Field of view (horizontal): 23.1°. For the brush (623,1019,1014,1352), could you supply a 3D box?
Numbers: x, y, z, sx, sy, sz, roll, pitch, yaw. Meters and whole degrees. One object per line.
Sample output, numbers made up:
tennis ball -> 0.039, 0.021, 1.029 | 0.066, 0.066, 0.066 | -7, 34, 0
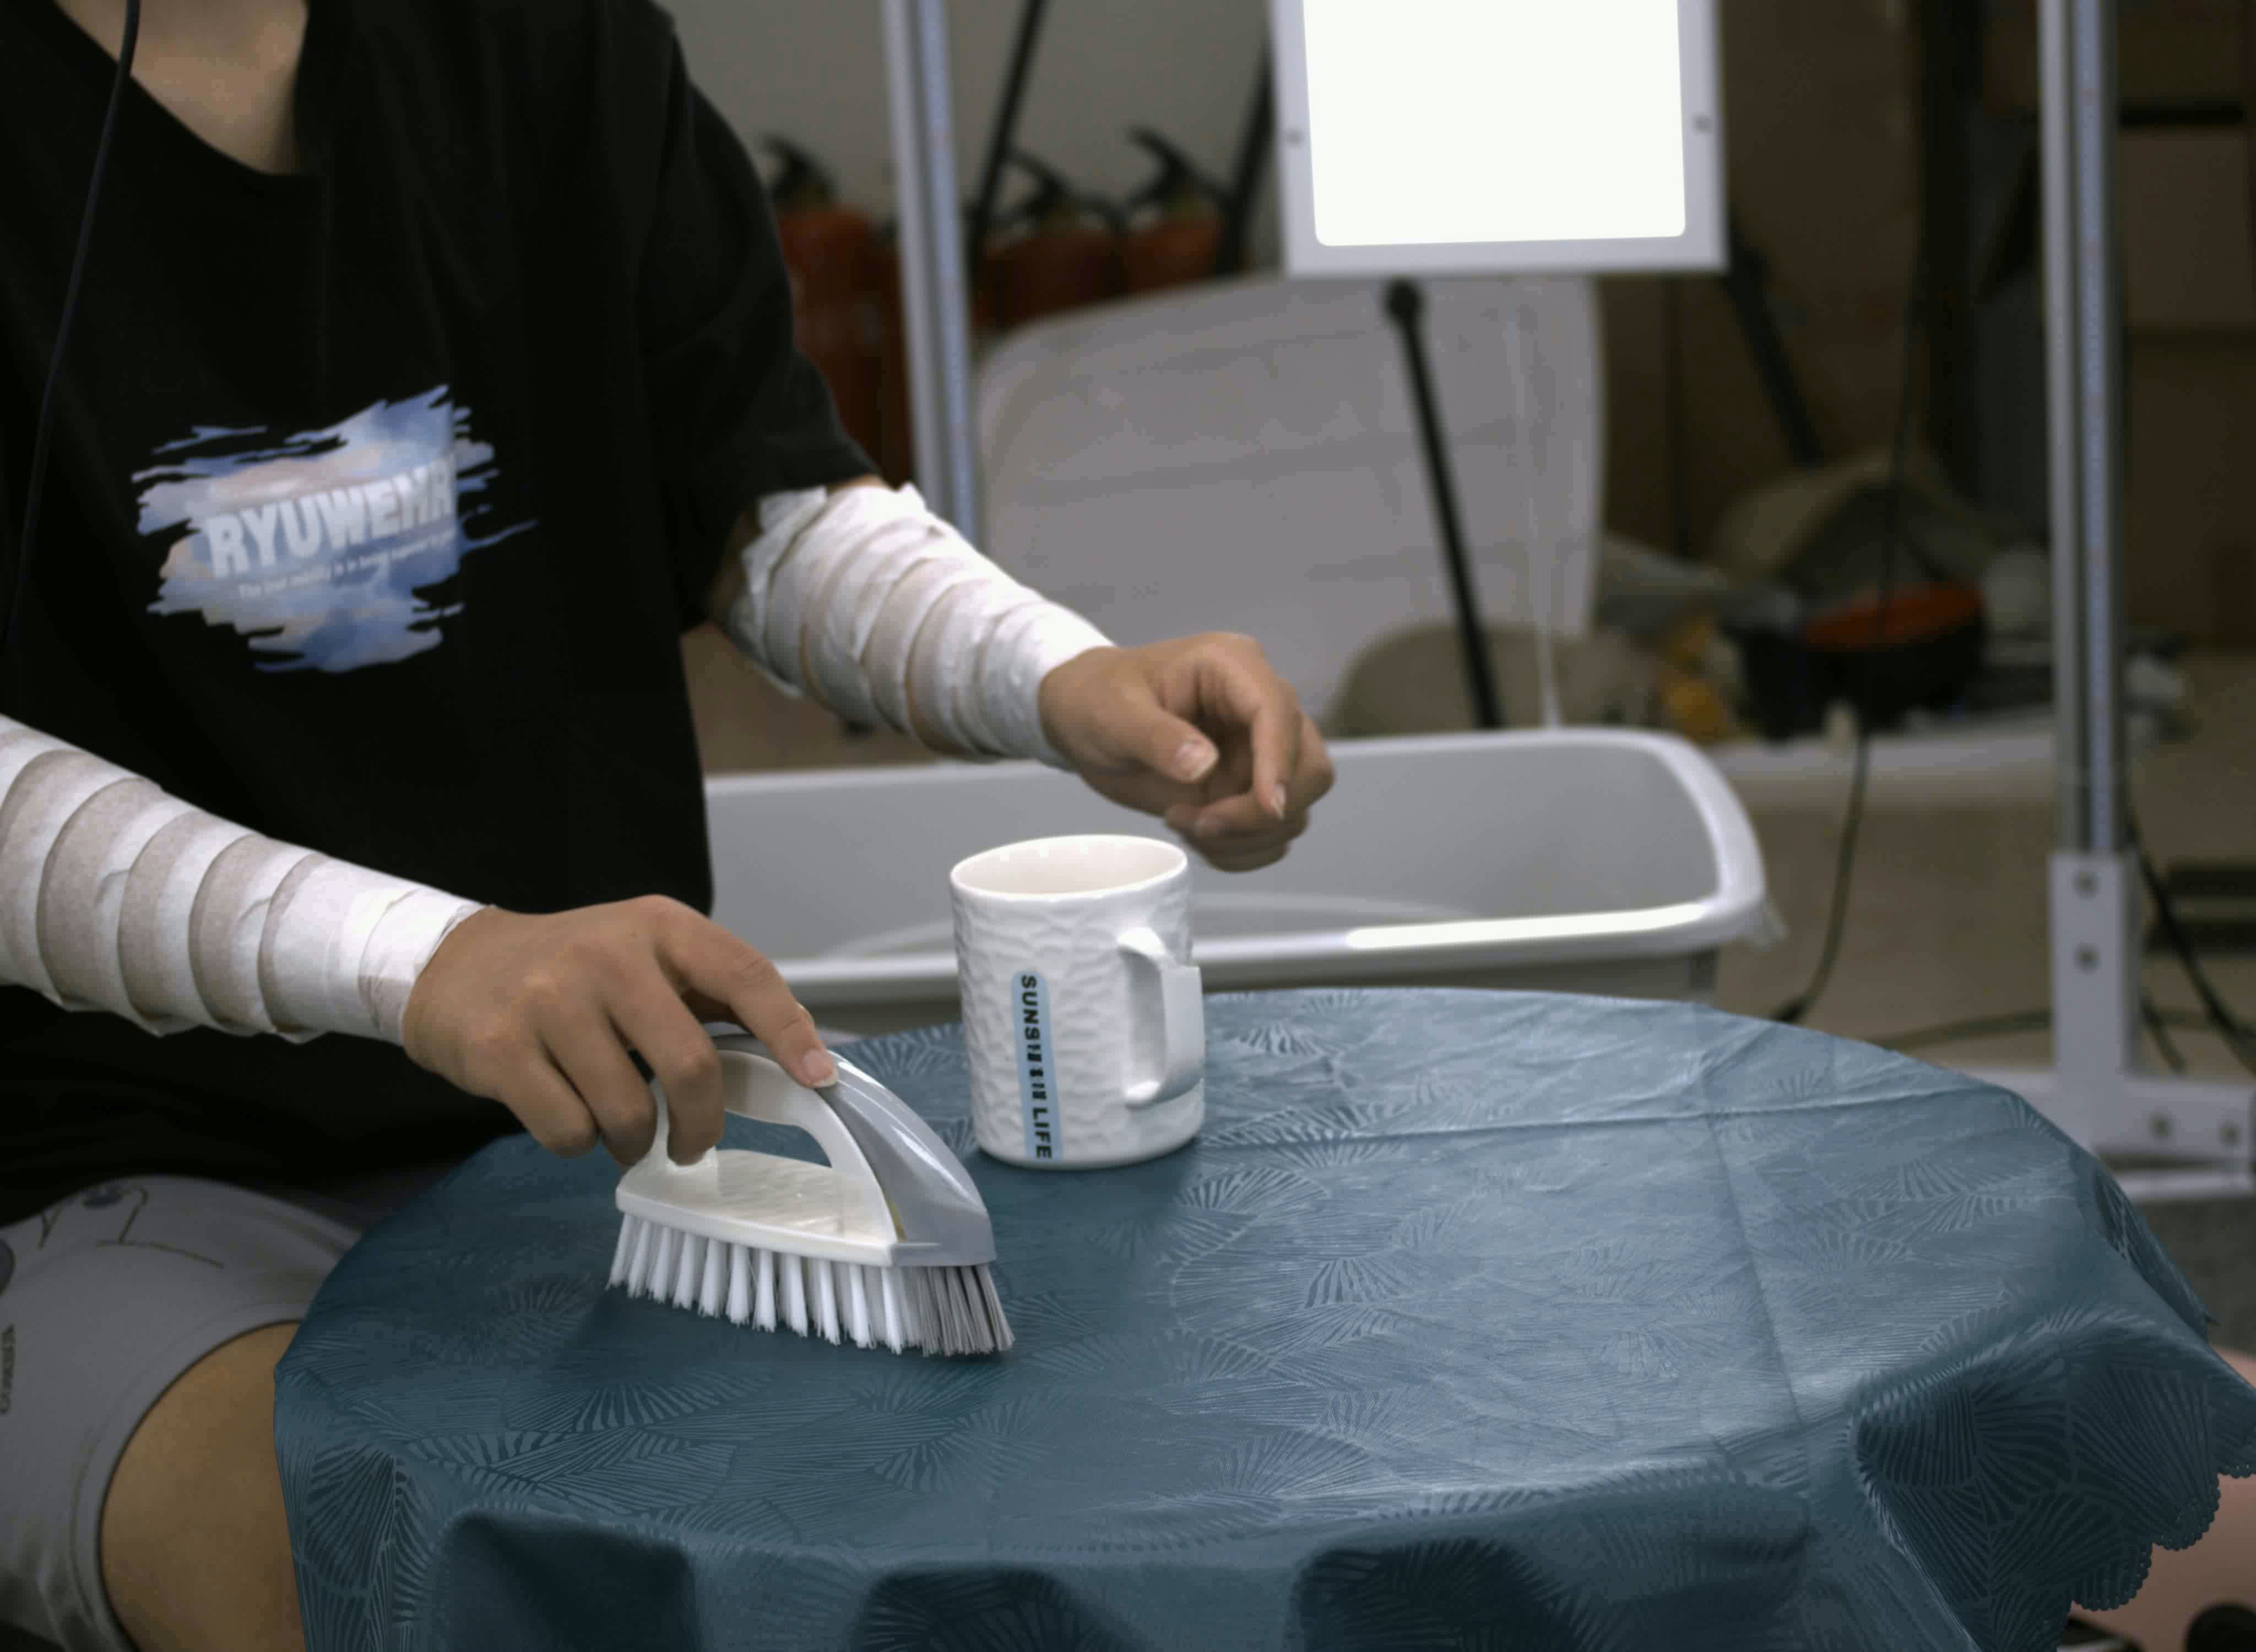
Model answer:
brush -> -0.099, 0.114, 1.795 | 0.060, 0.094, 0.179 | -19, 21, -37

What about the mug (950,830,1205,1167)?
mug -> -0.009, 0.064, 1.939 | 0.083, 0.102, 0.120 | -12, 16, -29
